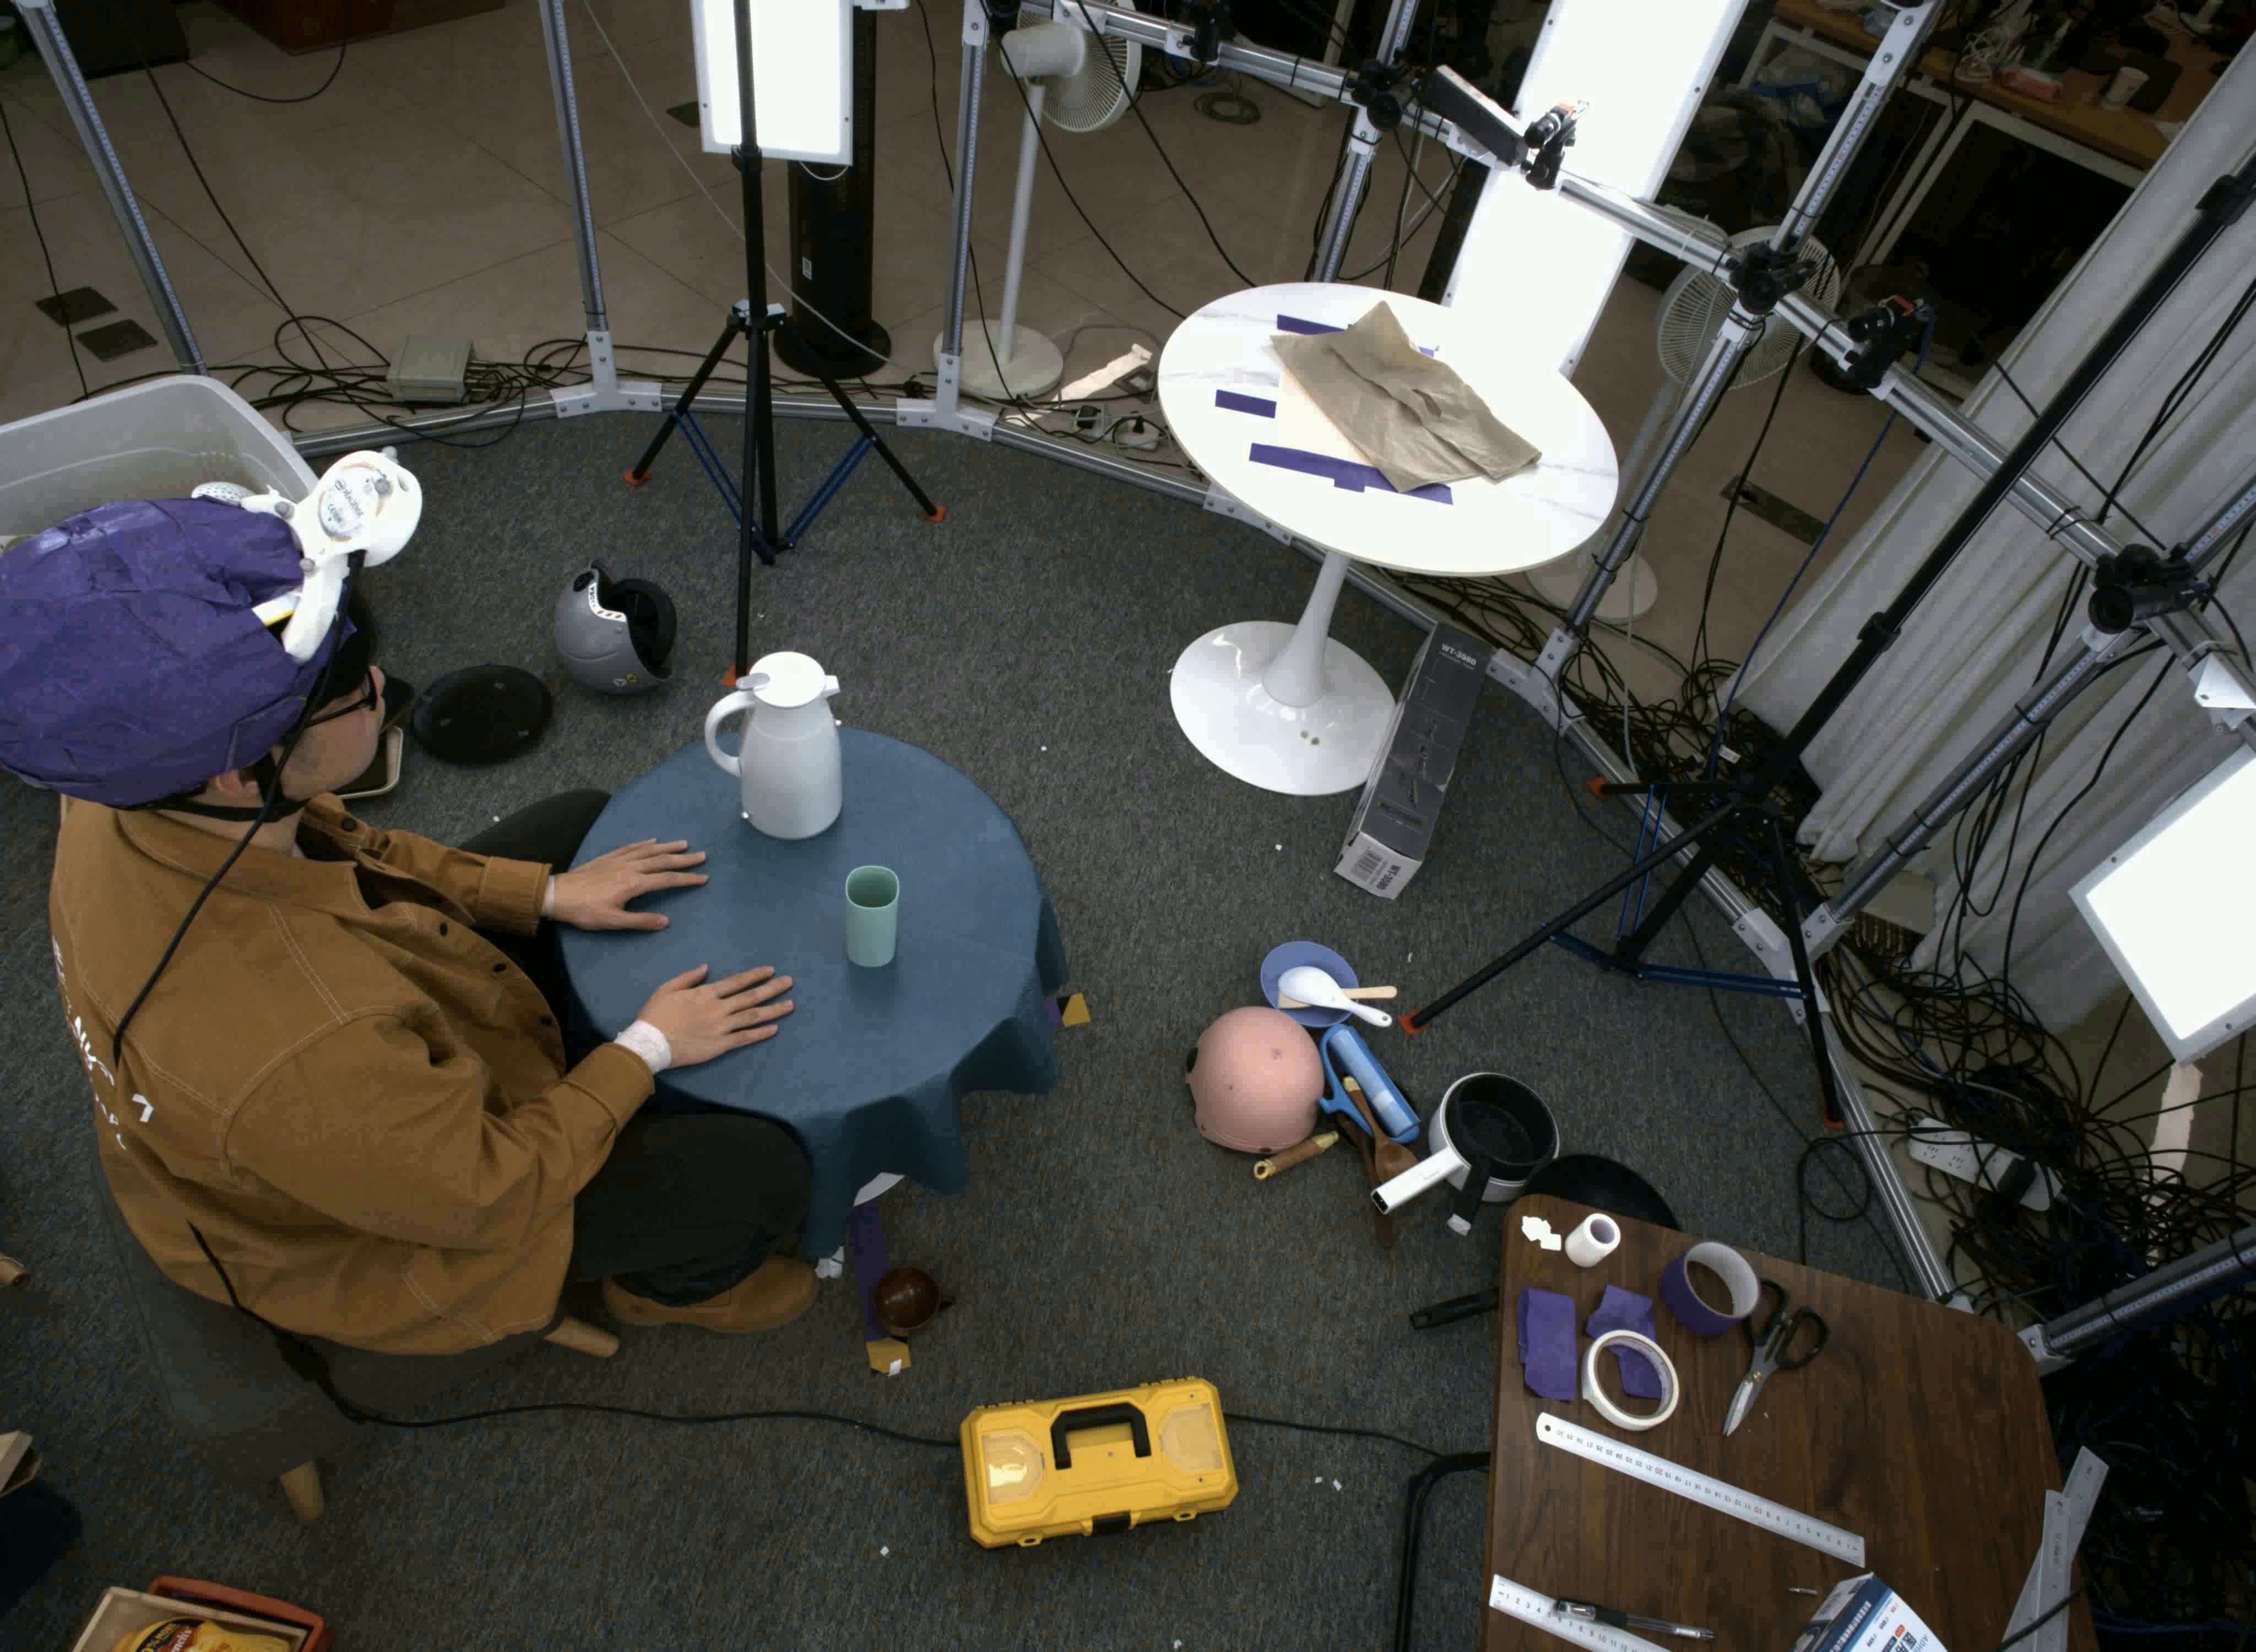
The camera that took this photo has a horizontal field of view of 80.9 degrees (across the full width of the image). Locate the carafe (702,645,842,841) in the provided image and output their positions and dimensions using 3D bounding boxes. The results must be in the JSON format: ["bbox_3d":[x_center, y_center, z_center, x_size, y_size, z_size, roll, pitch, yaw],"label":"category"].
[{"bbox_3d":[-0.449,-0.107,1.634,0.168,0.254,0.129,-10,55,-19],"label":"carafe"}]

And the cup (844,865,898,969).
[{"bbox_3d":[-0.313,0.112,1.587,0.066,0.135,0.065,6,51,-6],"label":"cup"}]
